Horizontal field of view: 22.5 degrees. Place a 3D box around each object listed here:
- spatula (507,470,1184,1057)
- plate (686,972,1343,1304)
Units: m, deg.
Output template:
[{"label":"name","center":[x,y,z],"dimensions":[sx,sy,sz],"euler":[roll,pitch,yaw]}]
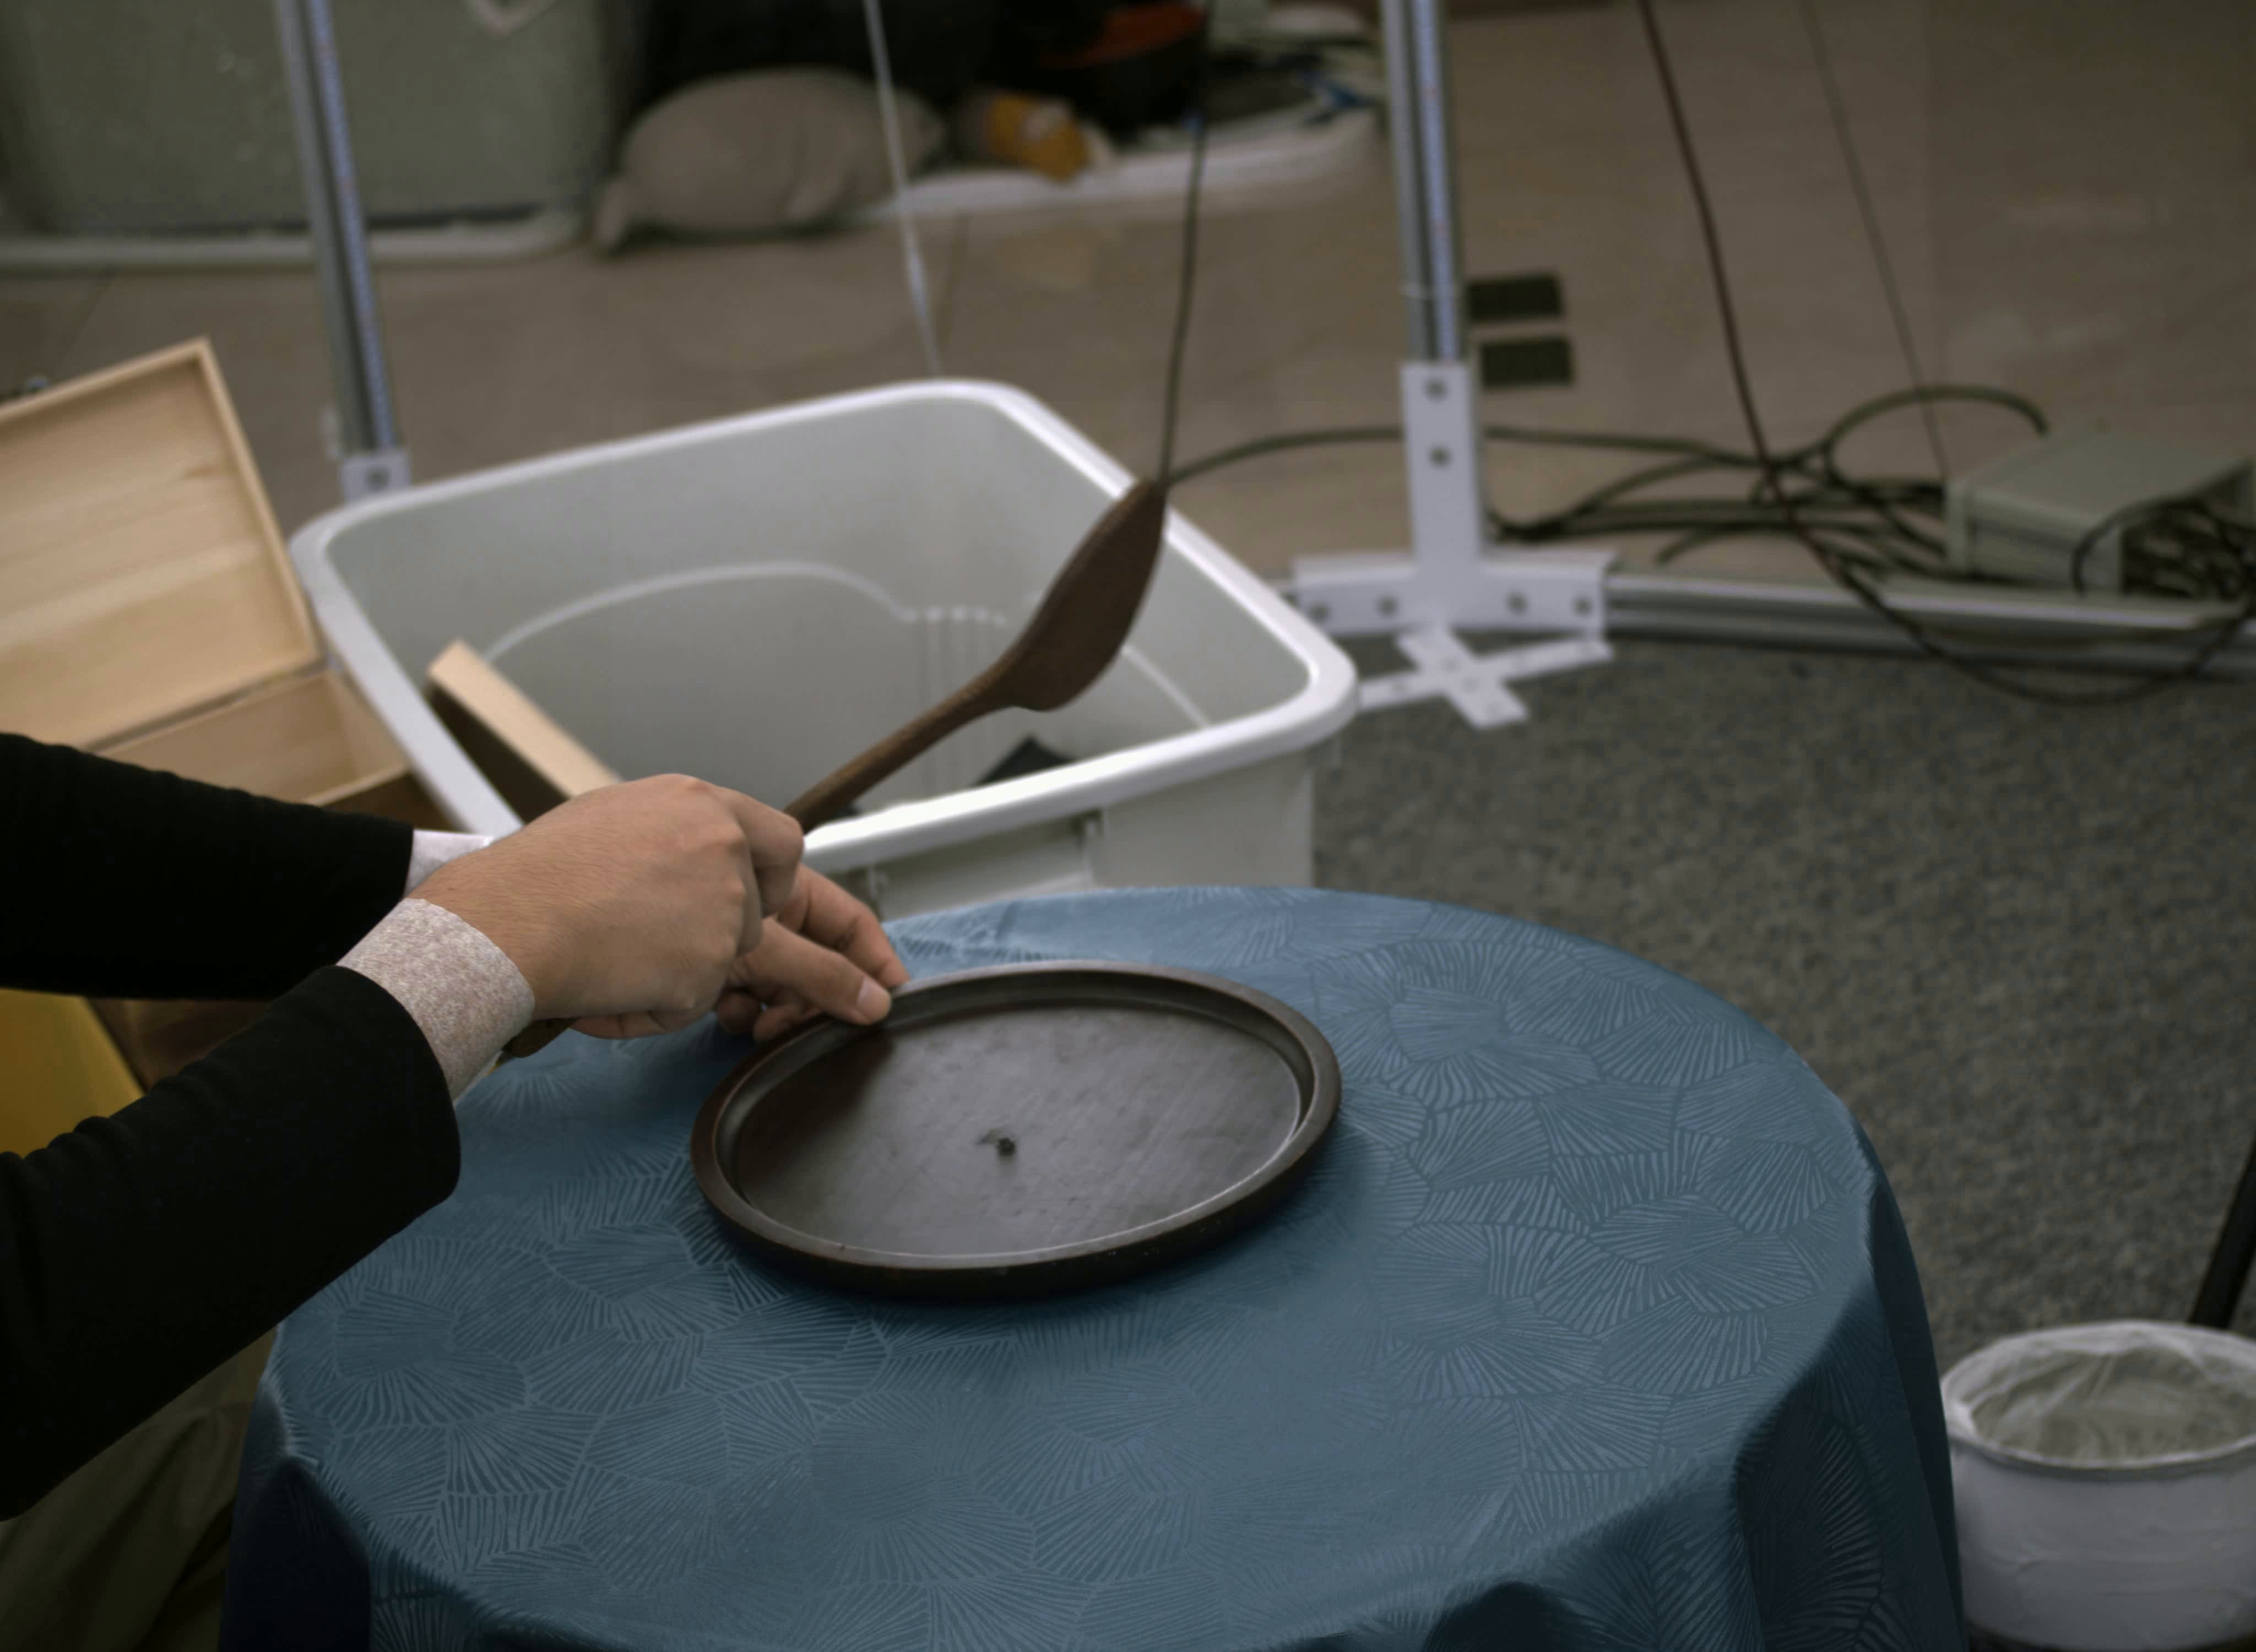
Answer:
[{"label":"spatula","center":[-0.096,-0.017,2.036],"dimensions":[0.015,0.098,0.381],"euler":[34,46,21]},{"label":"plate","center":[-0.043,0.118,2.179],"dimensions":[0.254,0.029,0.251],"euler":[-4,26,2]}]
